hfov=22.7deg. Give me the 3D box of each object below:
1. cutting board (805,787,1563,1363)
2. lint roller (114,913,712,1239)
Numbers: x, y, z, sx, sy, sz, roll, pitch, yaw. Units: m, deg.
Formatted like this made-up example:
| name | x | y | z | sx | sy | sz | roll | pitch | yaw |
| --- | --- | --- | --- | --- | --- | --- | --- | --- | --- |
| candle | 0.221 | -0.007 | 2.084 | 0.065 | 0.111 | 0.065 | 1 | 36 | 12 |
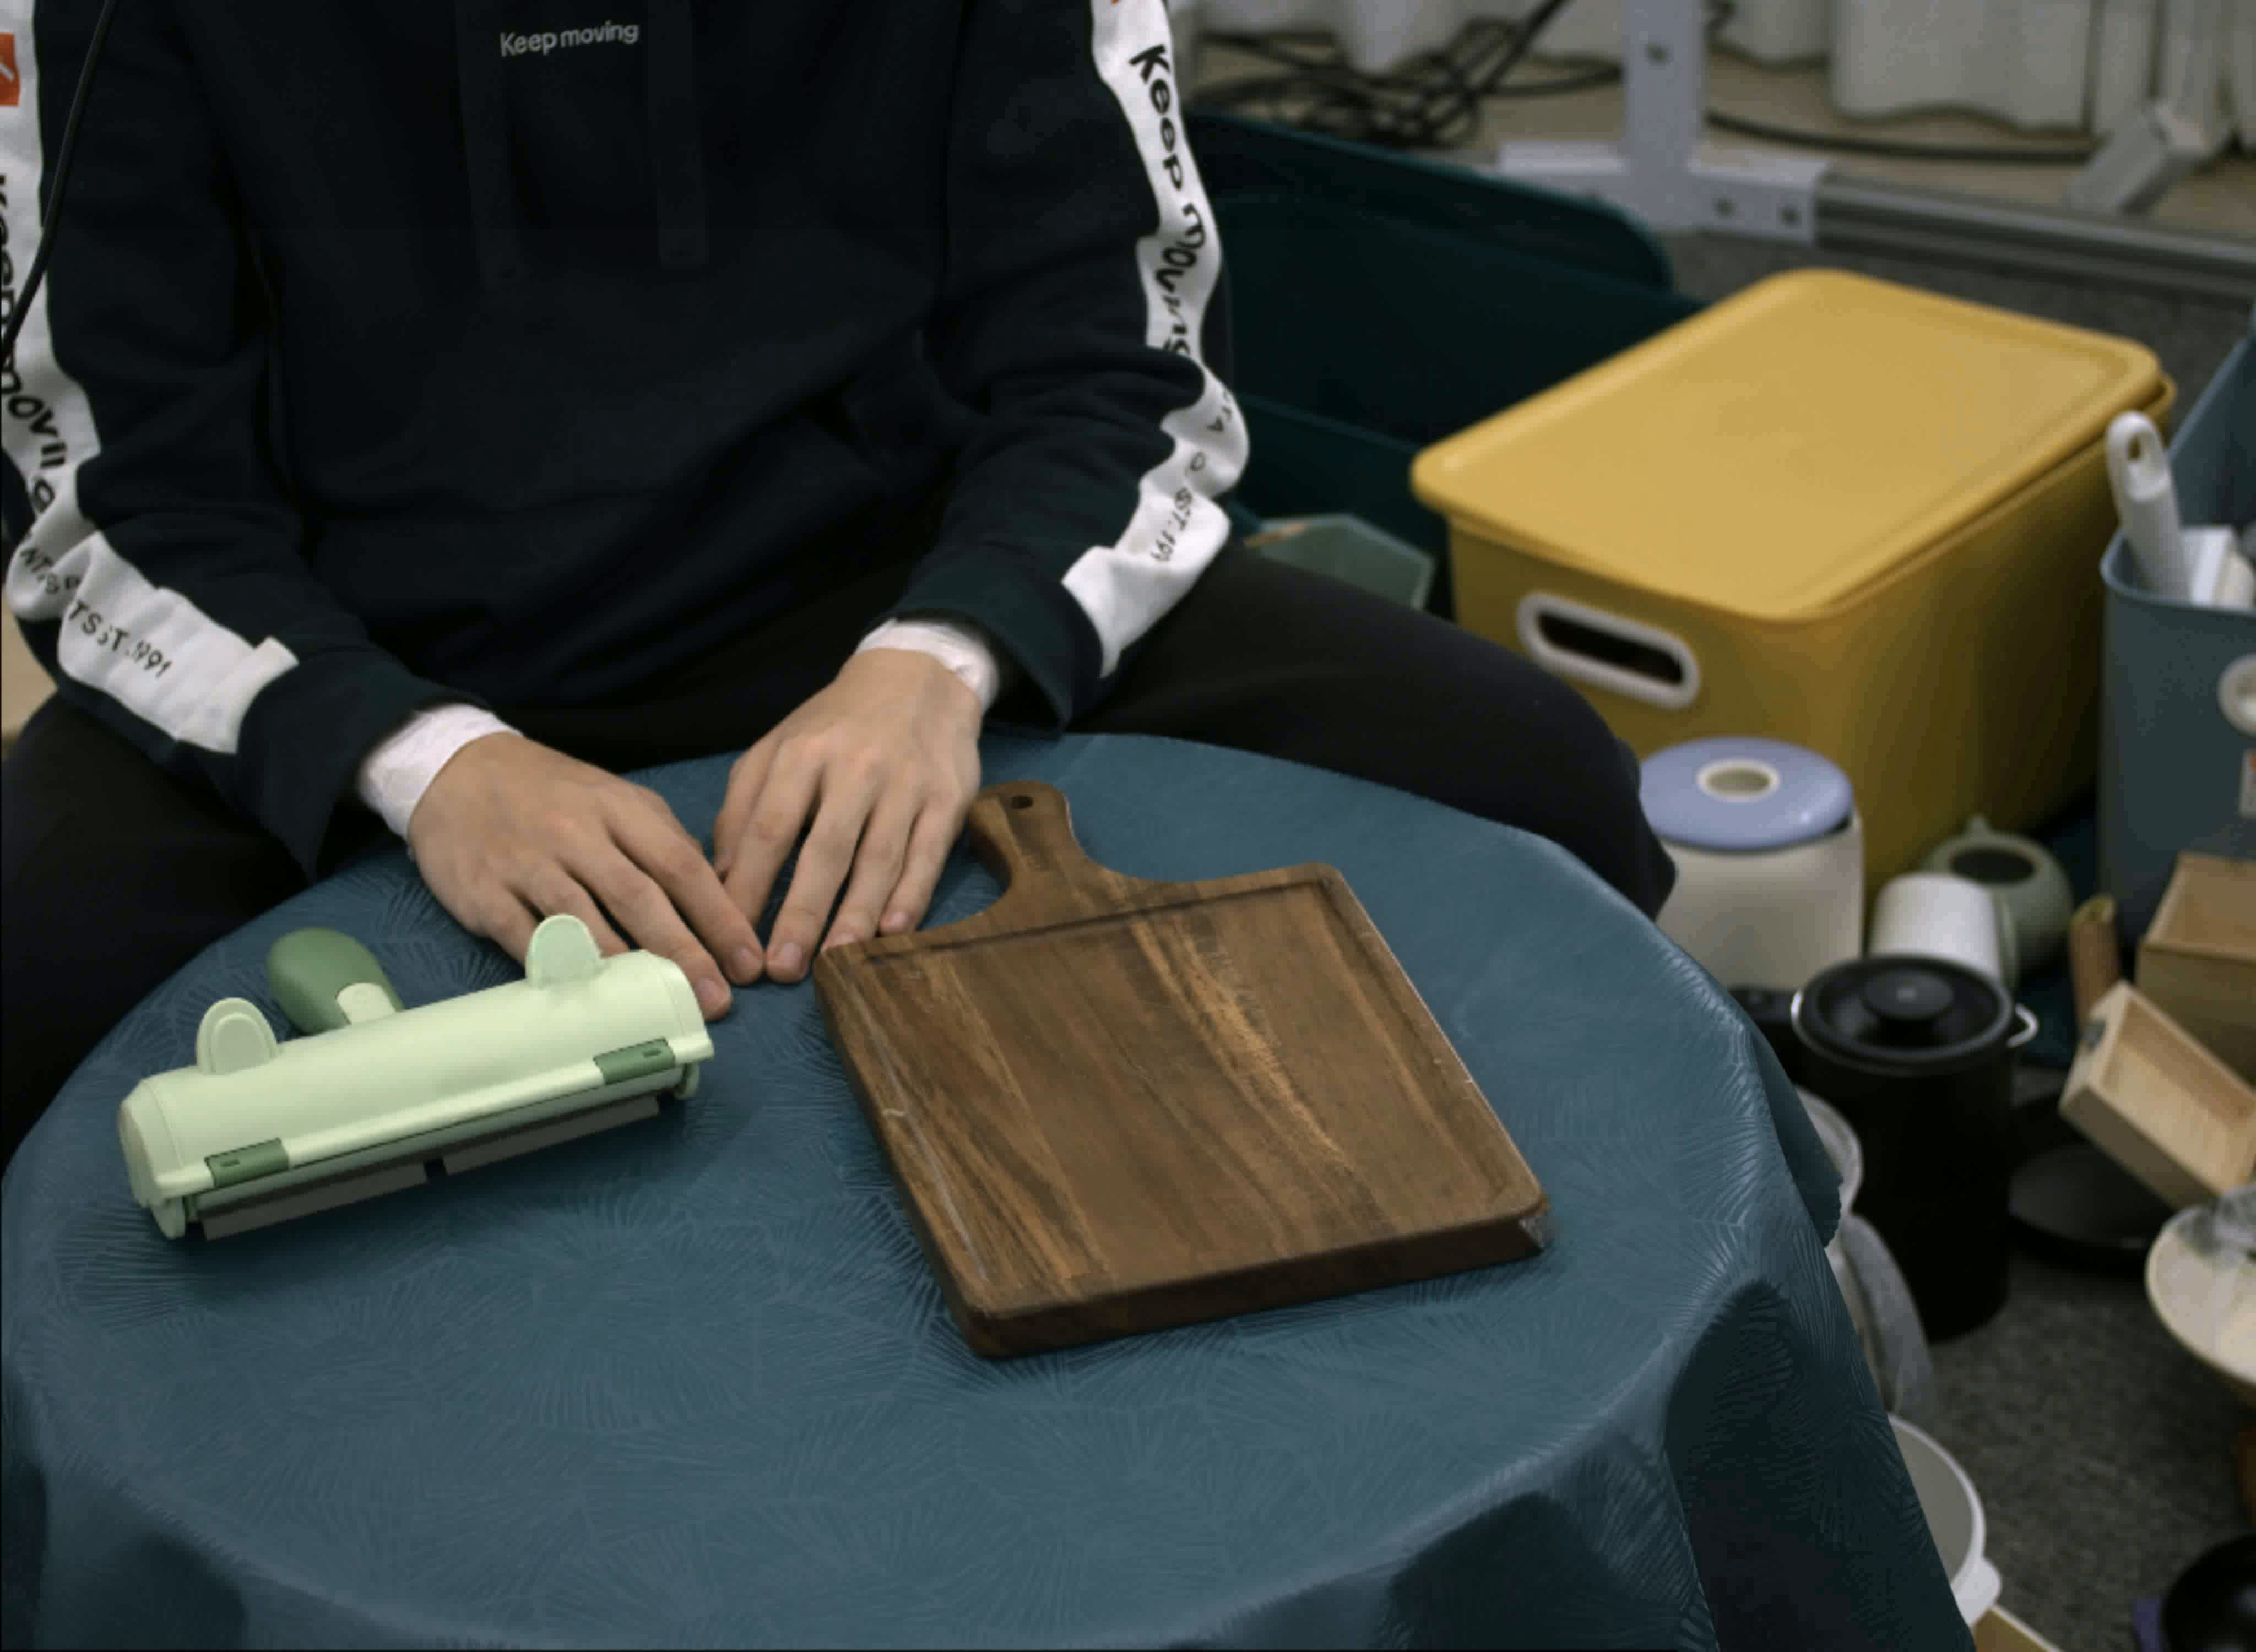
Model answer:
| name | x | y | z | sx | sy | sz | roll | pitch | yaw |
| --- | --- | --- | --- | --- | --- | --- | --- | --- | --- |
| cutting board | 0.000 | 0.070 | 1.937 | 0.201 | 0.023 | 0.356 | -9 | 28 | -13 |
| lint roller | -0.263 | 0.058 | 1.925 | 0.199 | 0.081 | 0.185 | -14 | 34 | -21 |
